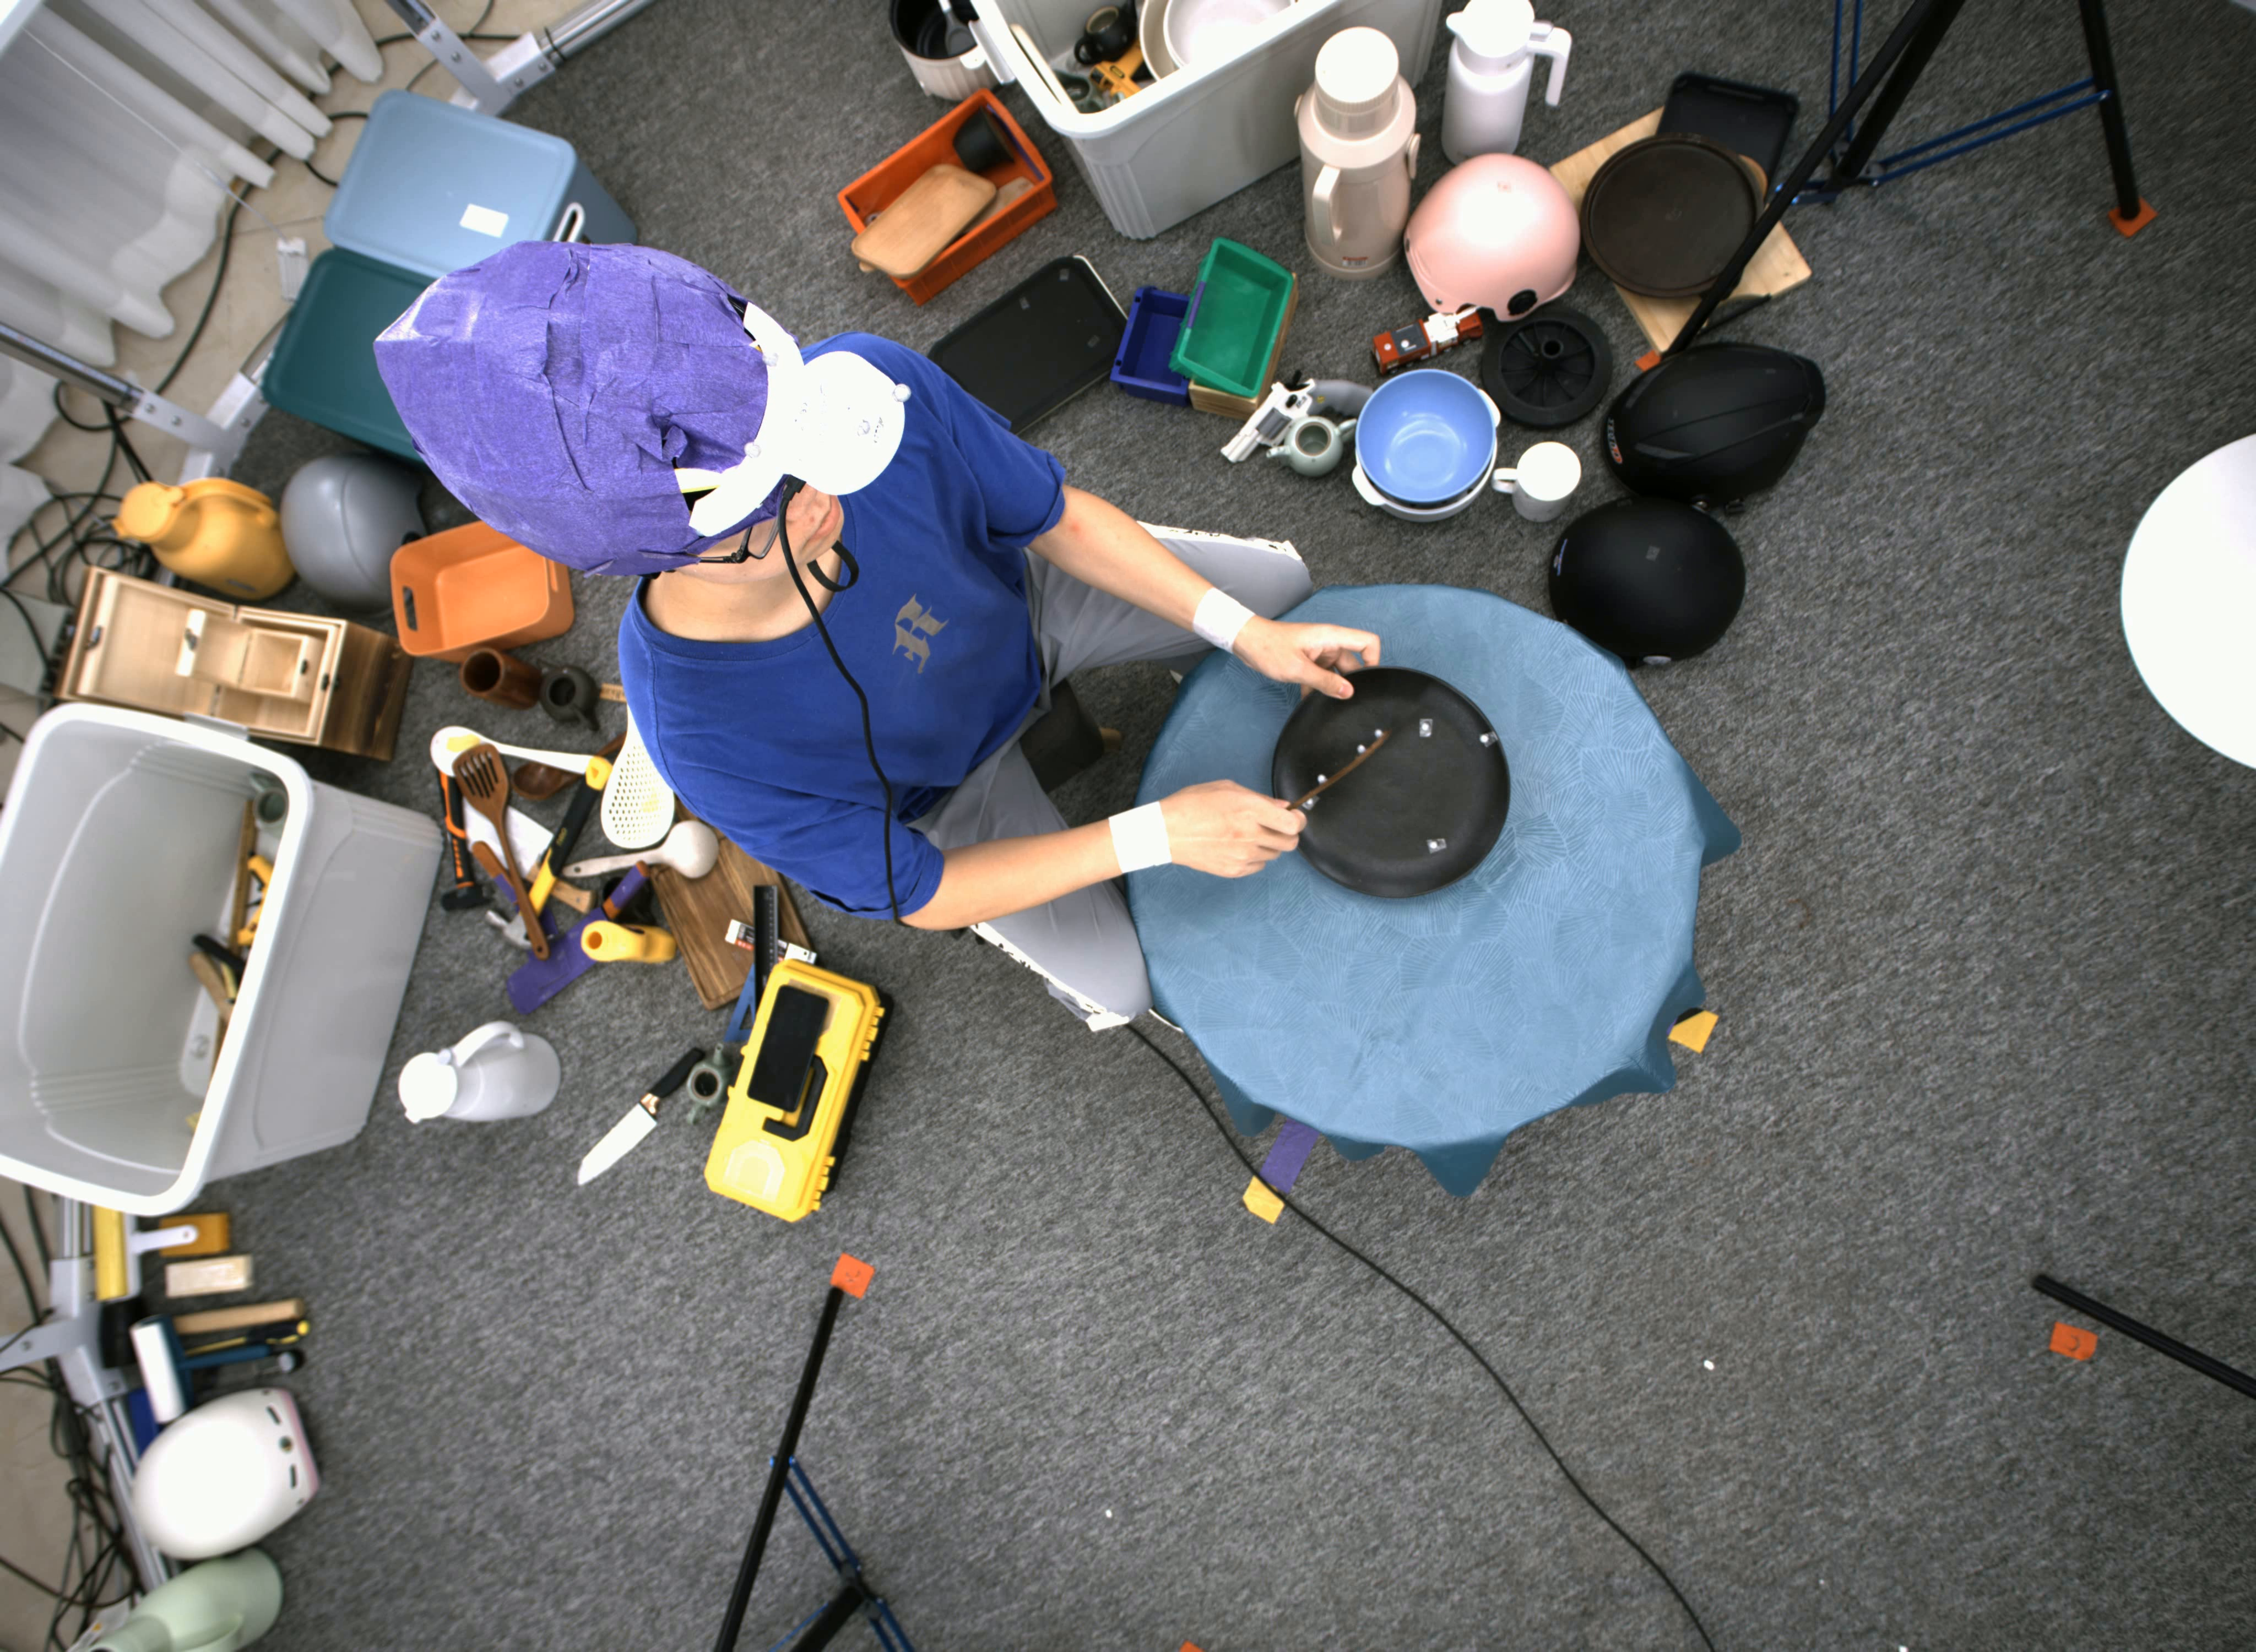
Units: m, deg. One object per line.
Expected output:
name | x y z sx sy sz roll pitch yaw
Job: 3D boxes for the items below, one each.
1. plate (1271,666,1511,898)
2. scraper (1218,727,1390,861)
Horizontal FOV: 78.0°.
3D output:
plate | 0.265 -0.046 1.398 0.245 0.023 0.248 8 113 20
scraper | 0.171 -0.030 1.344 0.213 0.075 0.011 -38 86 14
